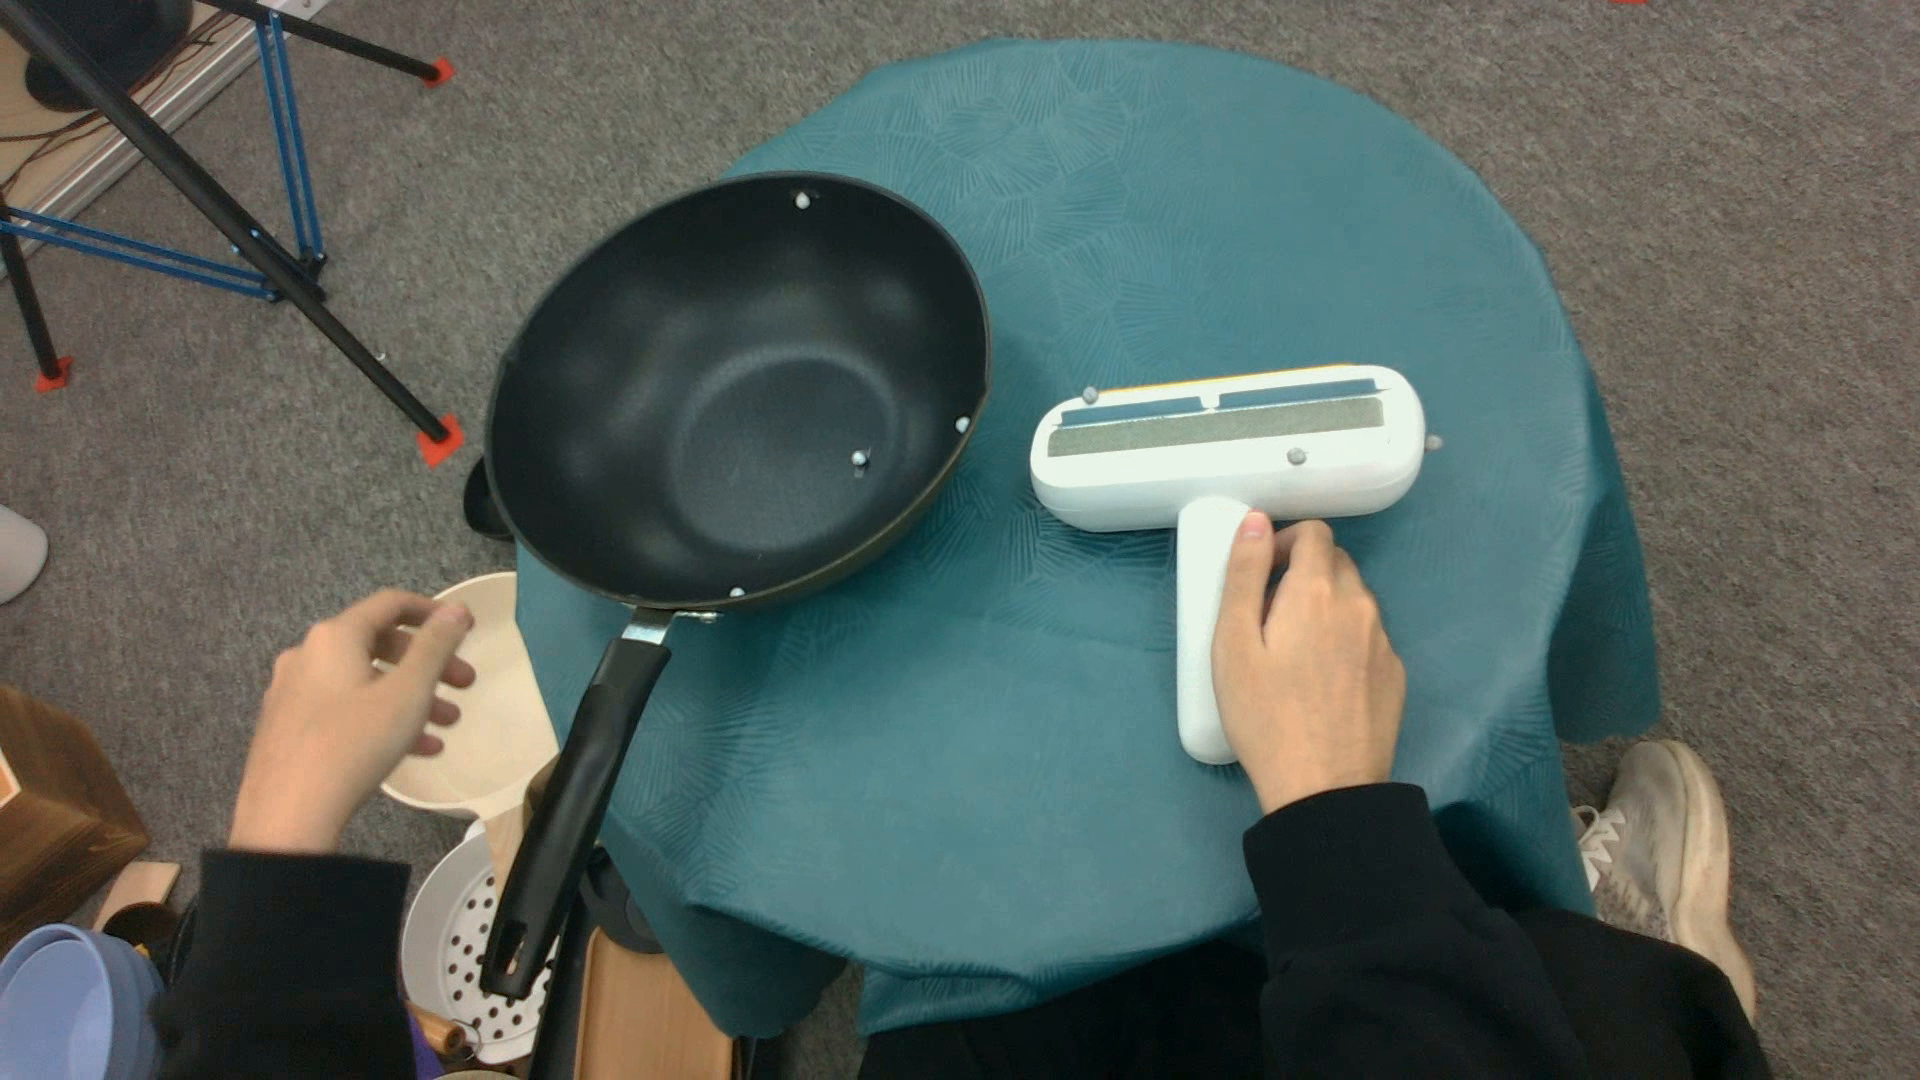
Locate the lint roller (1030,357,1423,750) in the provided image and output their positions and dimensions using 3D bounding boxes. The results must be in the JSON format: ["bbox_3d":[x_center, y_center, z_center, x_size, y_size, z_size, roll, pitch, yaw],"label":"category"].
[{"bbox_3d":[0.120,0.003,0.664,0.192,0.074,0.193,2,64,21],"label":"lint roller"}]

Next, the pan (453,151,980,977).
[{"bbox_3d":[-0.142,0.000,0.721,0.288,0.086,0.465,7,64,17],"label":"pan"}]
